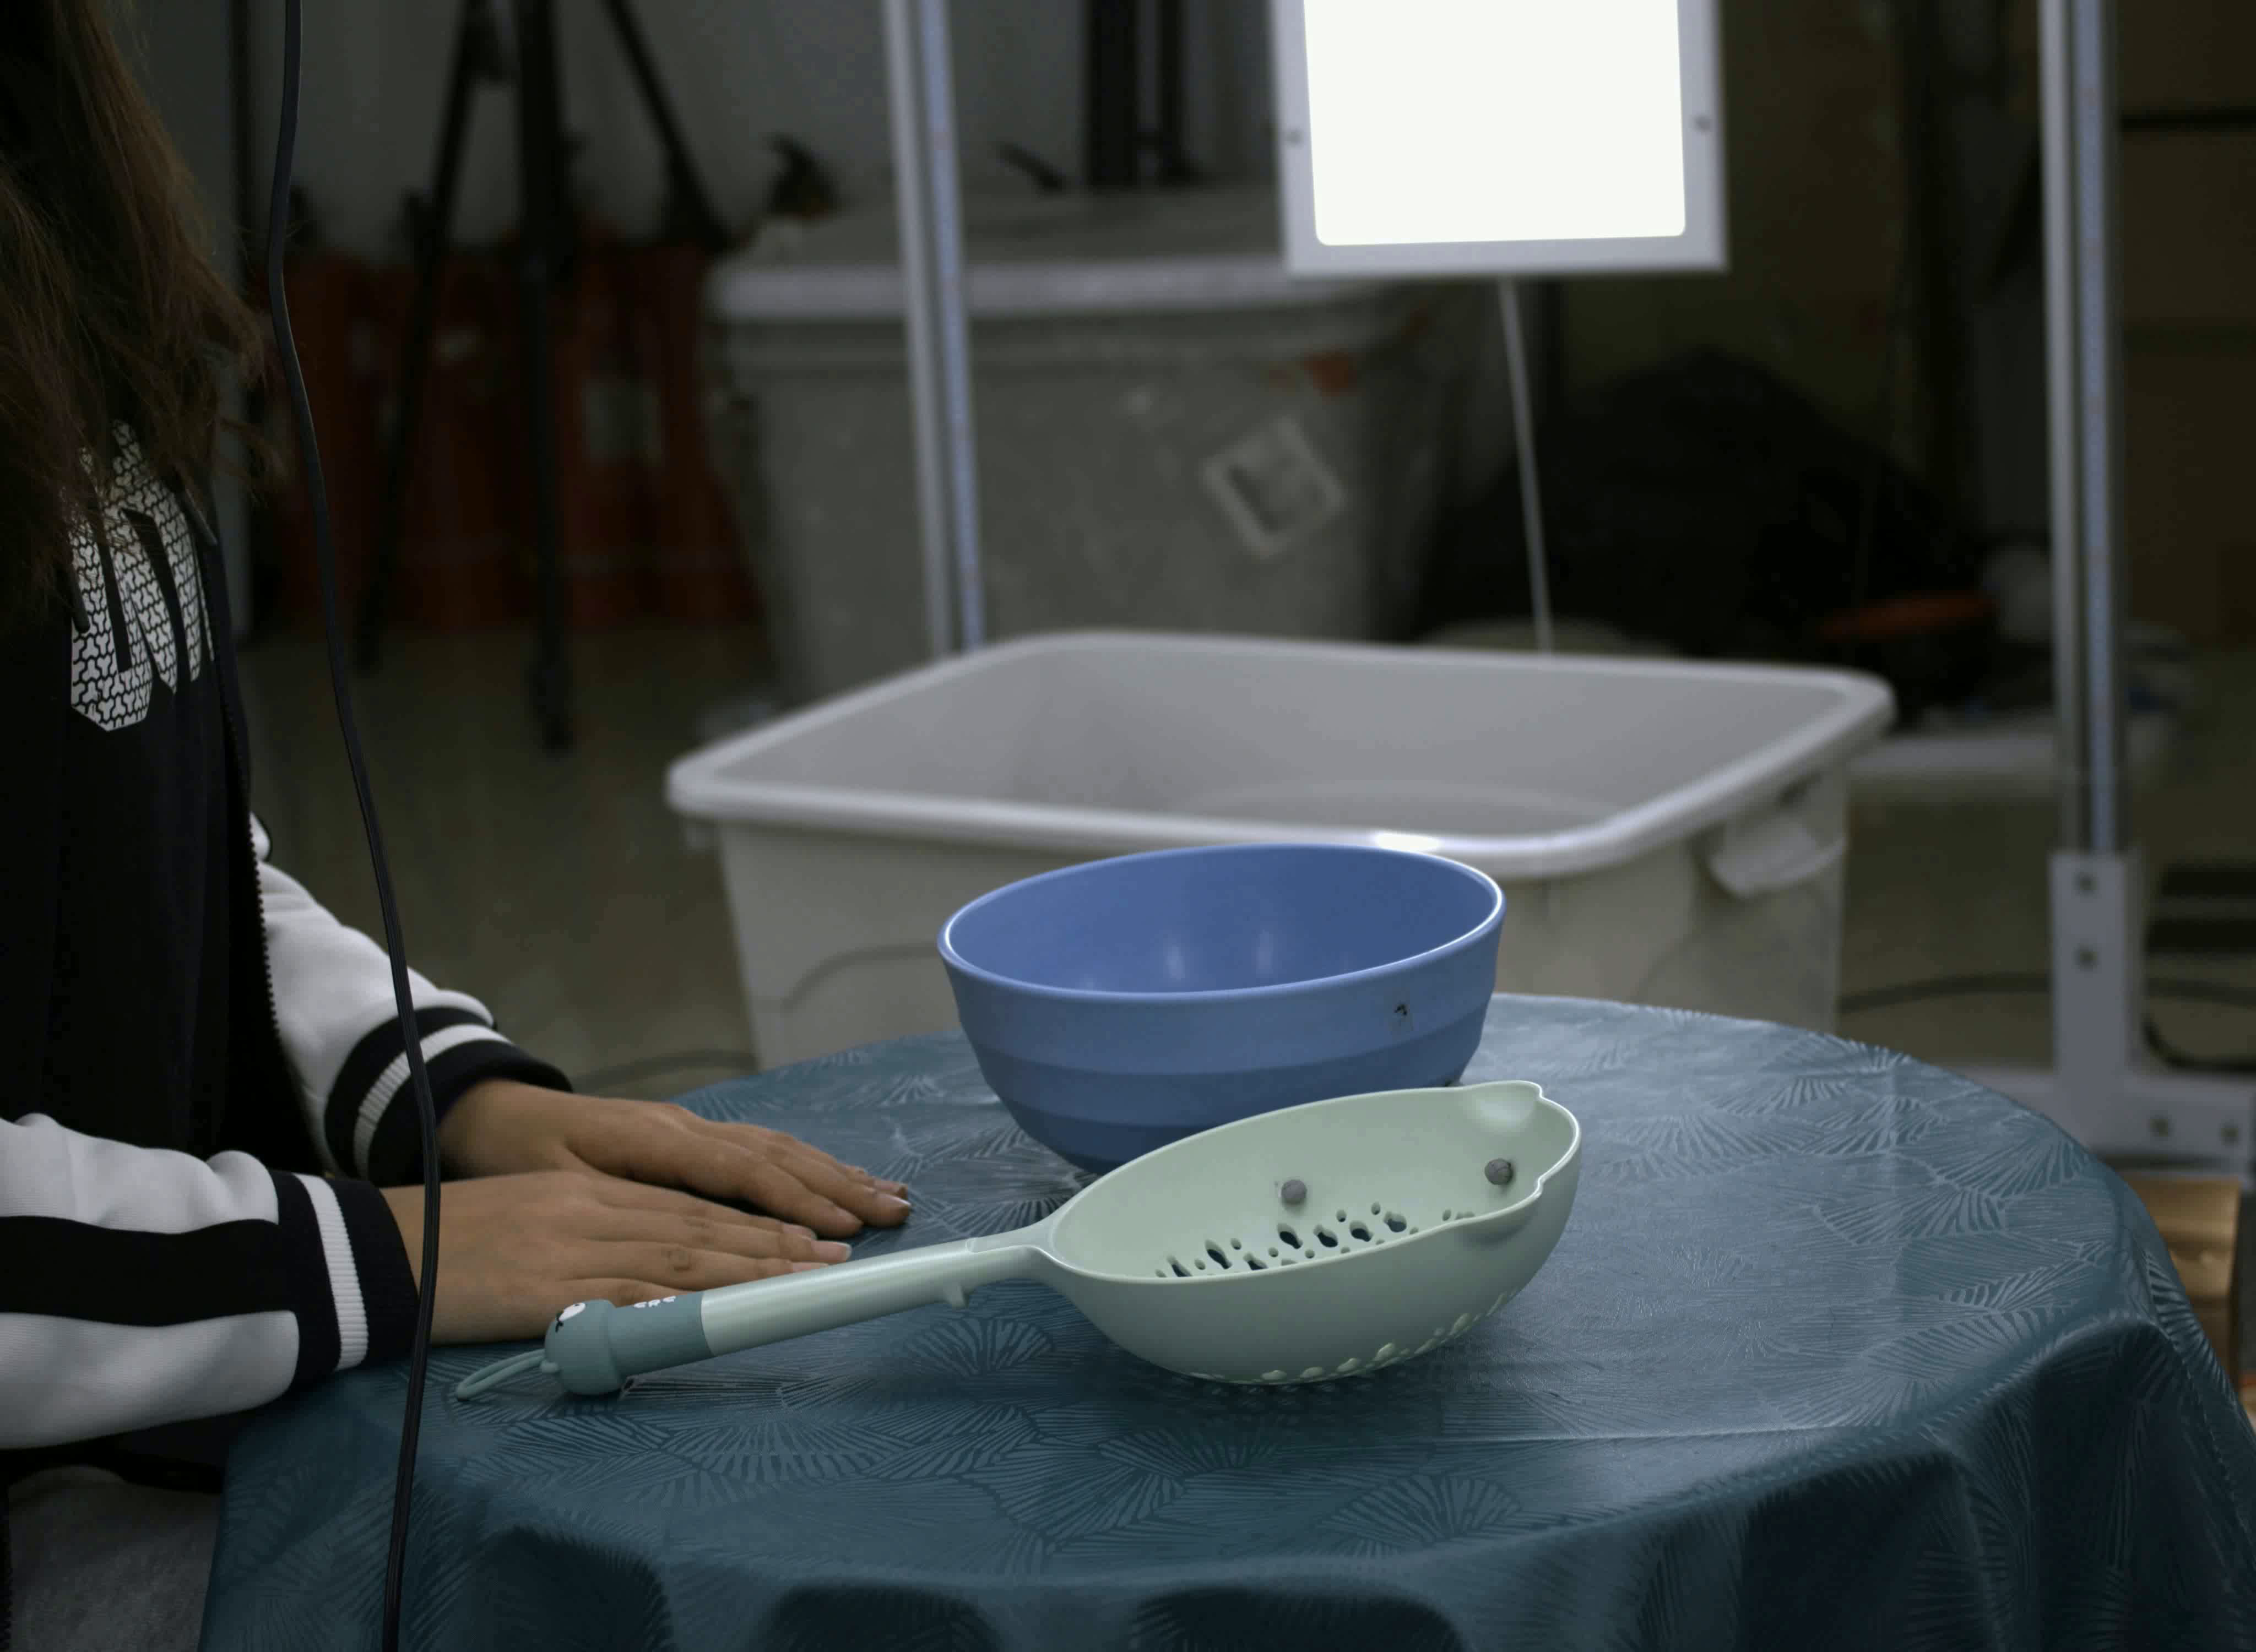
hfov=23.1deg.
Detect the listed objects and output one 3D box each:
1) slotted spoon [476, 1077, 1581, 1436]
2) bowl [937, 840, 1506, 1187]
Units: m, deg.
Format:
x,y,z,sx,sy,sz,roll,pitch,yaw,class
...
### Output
x,y,z,sx,sy,sz,roll,pitch,yaw,class
-0.034,0.143,1.723,0.360,0.075,0.168,-5,13,8,slotted spoon
0.036,0.076,1.895,0.196,0.096,0.196,-6,14,0,bowl
